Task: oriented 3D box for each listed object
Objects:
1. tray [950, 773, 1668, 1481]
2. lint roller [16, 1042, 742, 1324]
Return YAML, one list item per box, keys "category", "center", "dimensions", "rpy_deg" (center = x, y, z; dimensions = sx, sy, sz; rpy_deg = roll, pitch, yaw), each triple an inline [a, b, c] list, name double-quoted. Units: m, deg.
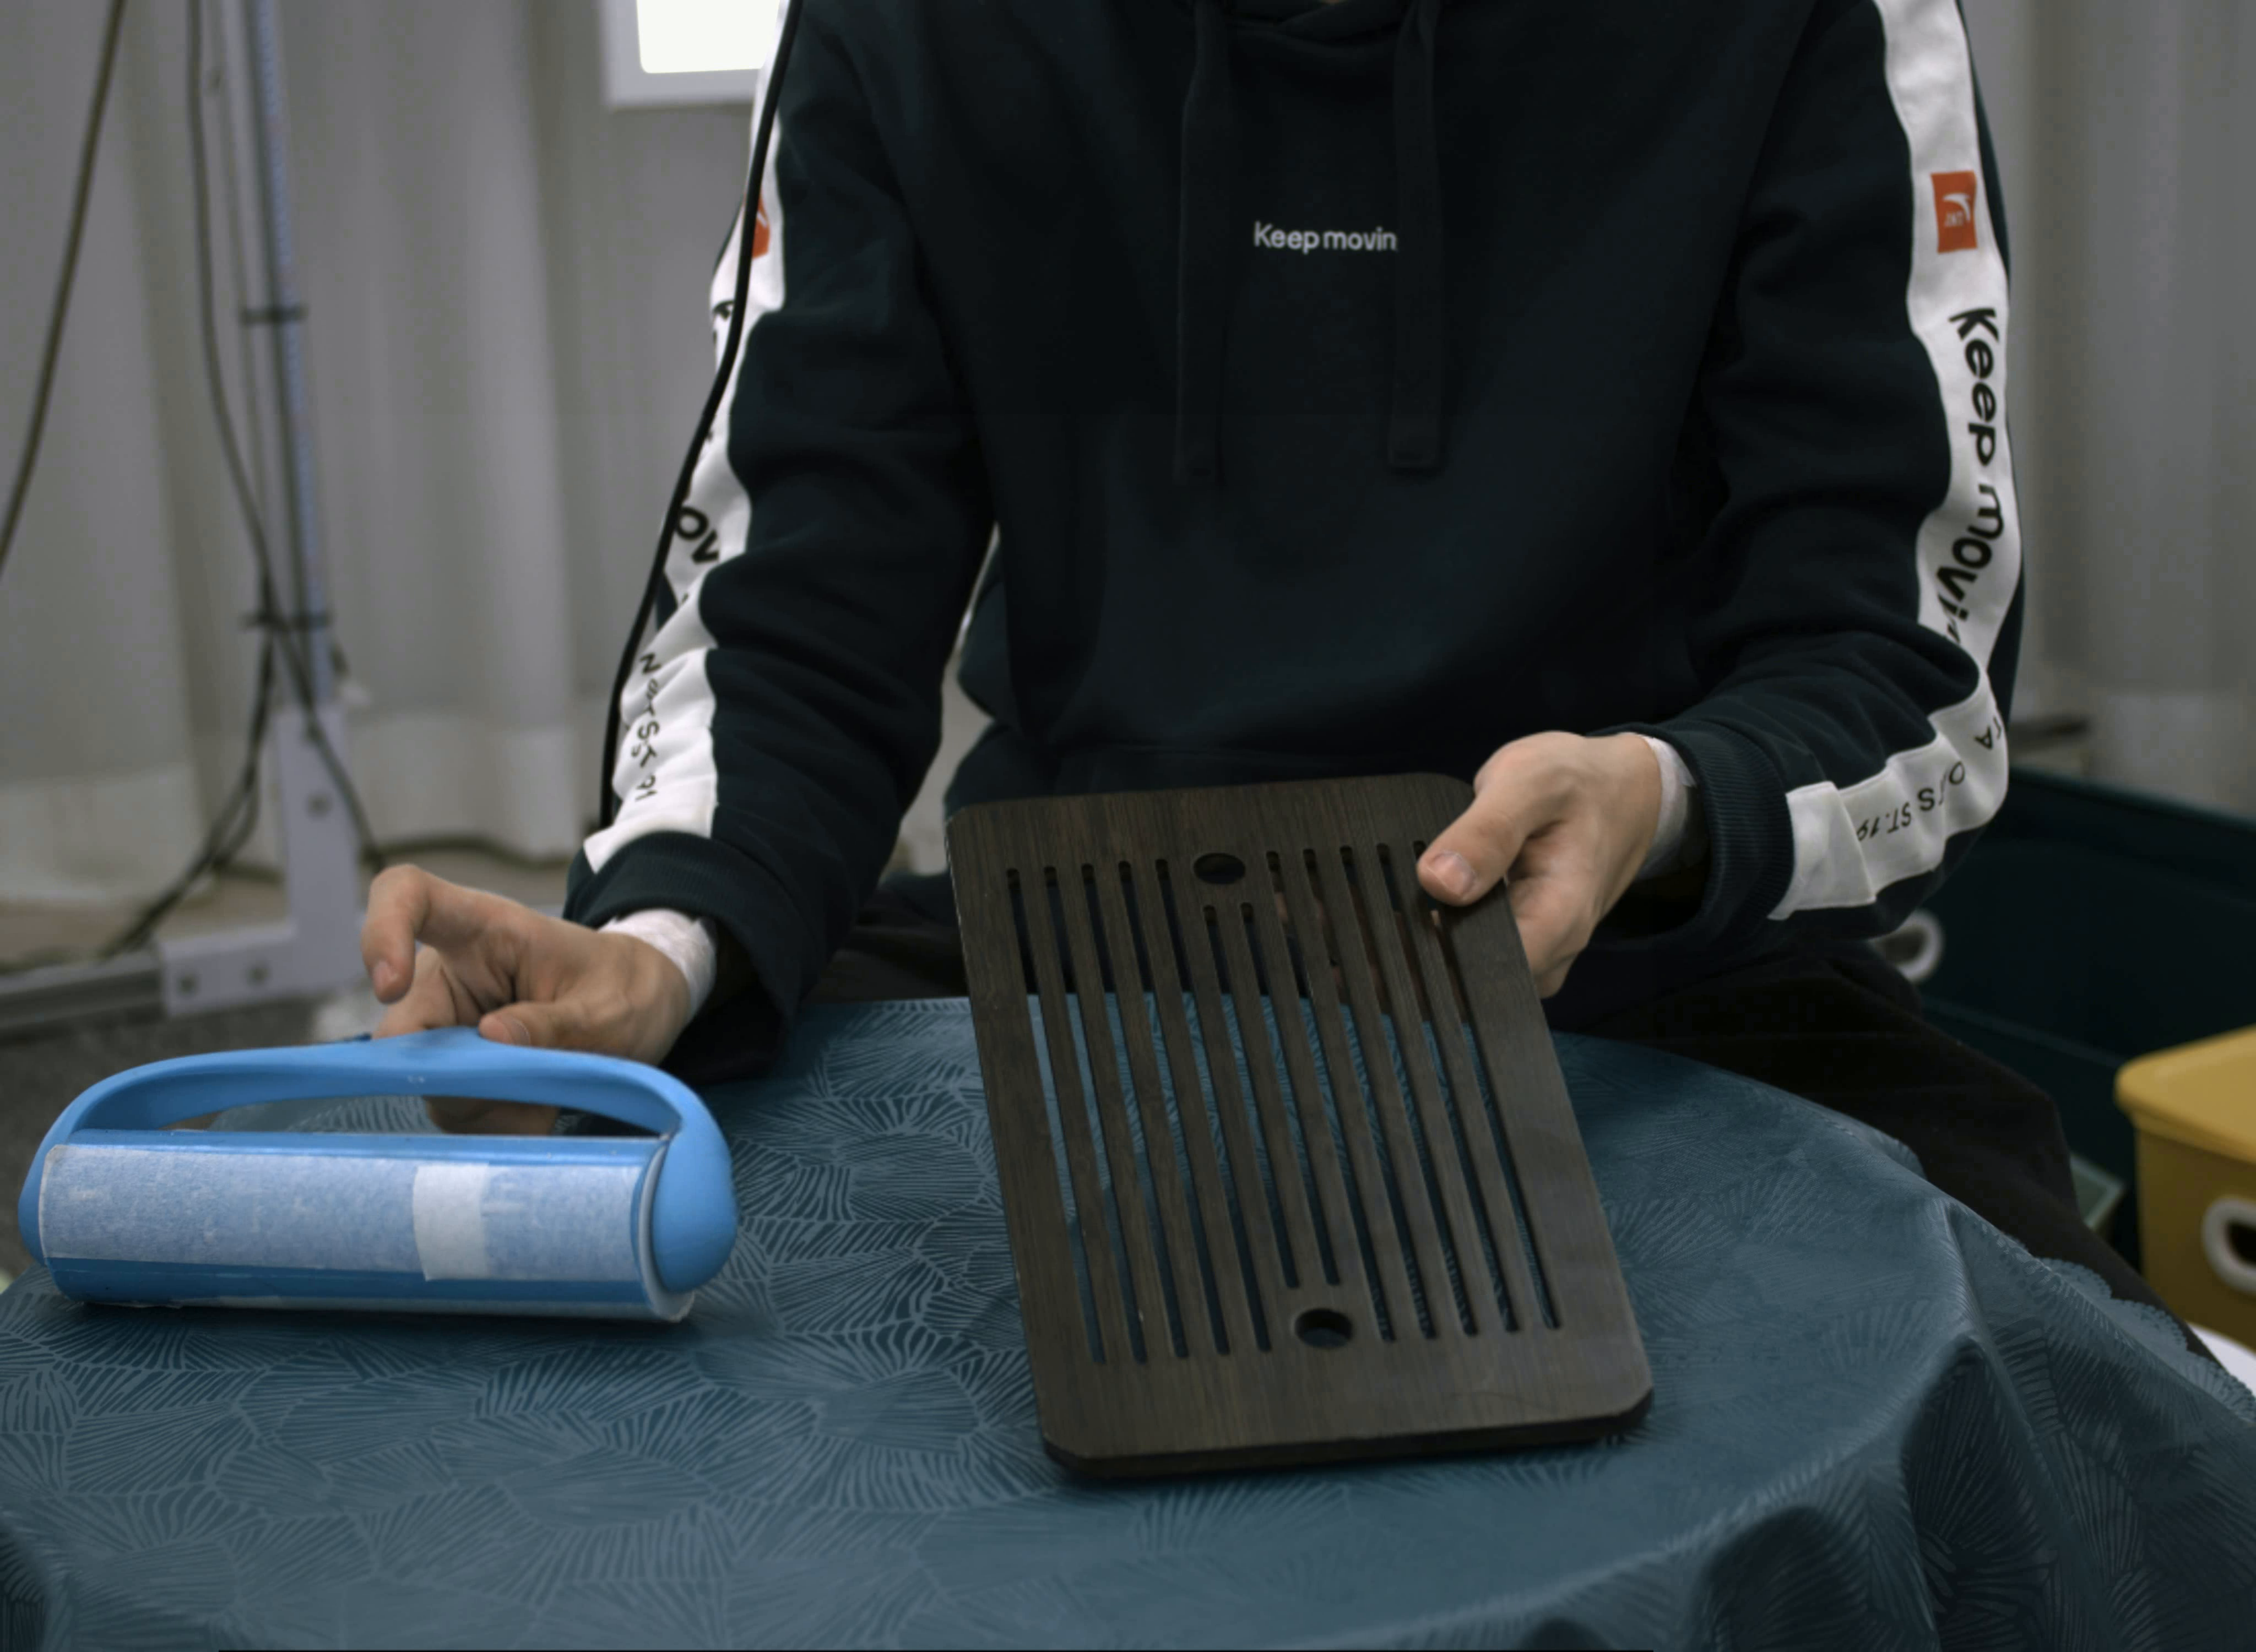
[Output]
- category: "tray"
  center: [0.046, 0.083, 1.601]
  dimensions: [0.169, 0.018, 0.310]
  rpy_deg: [-4, 35, -6]
- category: "lint roller"
  center: [-0.212, 0.098, 1.686]
  dimensions: [0.228, 0.067, 0.181]
  rpy_deg: [-2, 20, 14]
